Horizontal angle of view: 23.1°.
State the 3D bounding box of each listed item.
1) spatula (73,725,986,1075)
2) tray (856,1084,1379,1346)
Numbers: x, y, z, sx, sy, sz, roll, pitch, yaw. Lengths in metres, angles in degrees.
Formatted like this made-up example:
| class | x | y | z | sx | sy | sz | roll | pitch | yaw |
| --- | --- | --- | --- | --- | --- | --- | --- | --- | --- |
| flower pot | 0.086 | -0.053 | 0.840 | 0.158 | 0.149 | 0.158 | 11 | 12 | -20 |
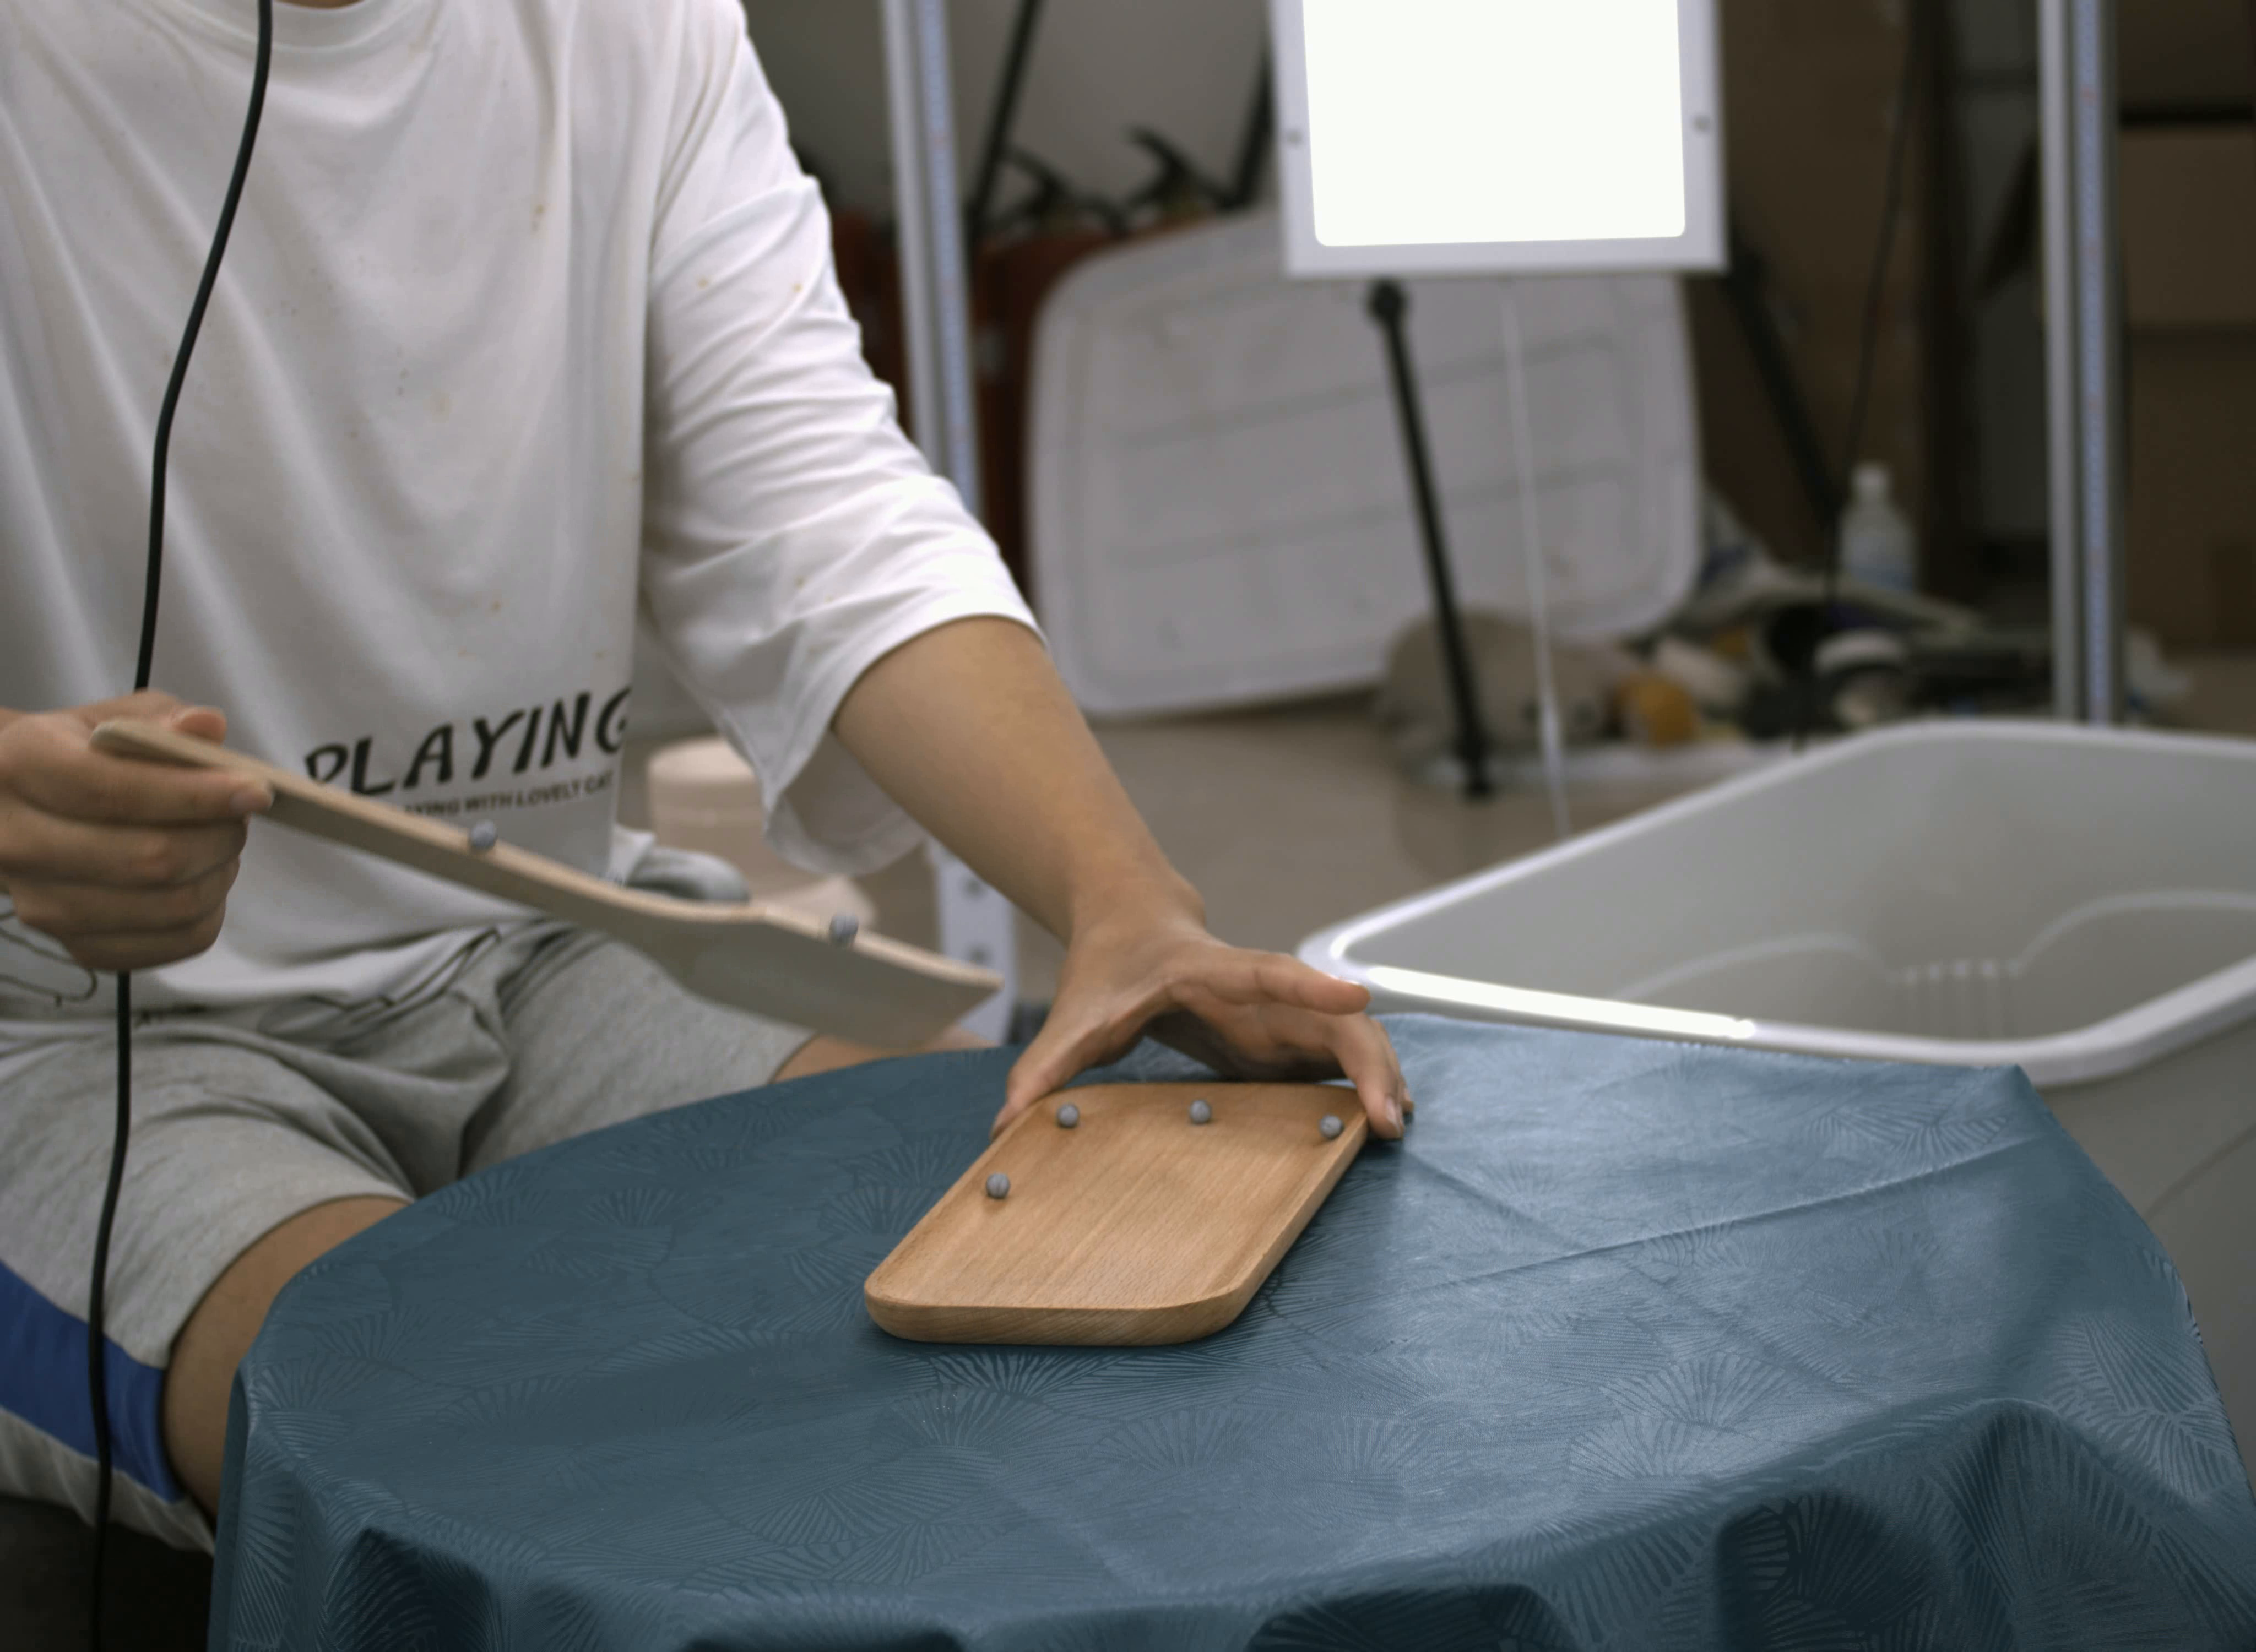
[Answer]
| class | x | y | z | sx | sy | sz | roll | pitch | yaw |
| --- | --- | --- | --- | --- | --- | --- | --- | --- | --- |
| spatula | -0.185 | 0.022 | 1.700 | 0.289 | 0.010 | 0.073 | 20 | -28 | -17 |
| tray | 0.001 | 0.129 | 1.857 | 0.132 | 0.023 | 0.247 | -3 | 14 | 18 |
